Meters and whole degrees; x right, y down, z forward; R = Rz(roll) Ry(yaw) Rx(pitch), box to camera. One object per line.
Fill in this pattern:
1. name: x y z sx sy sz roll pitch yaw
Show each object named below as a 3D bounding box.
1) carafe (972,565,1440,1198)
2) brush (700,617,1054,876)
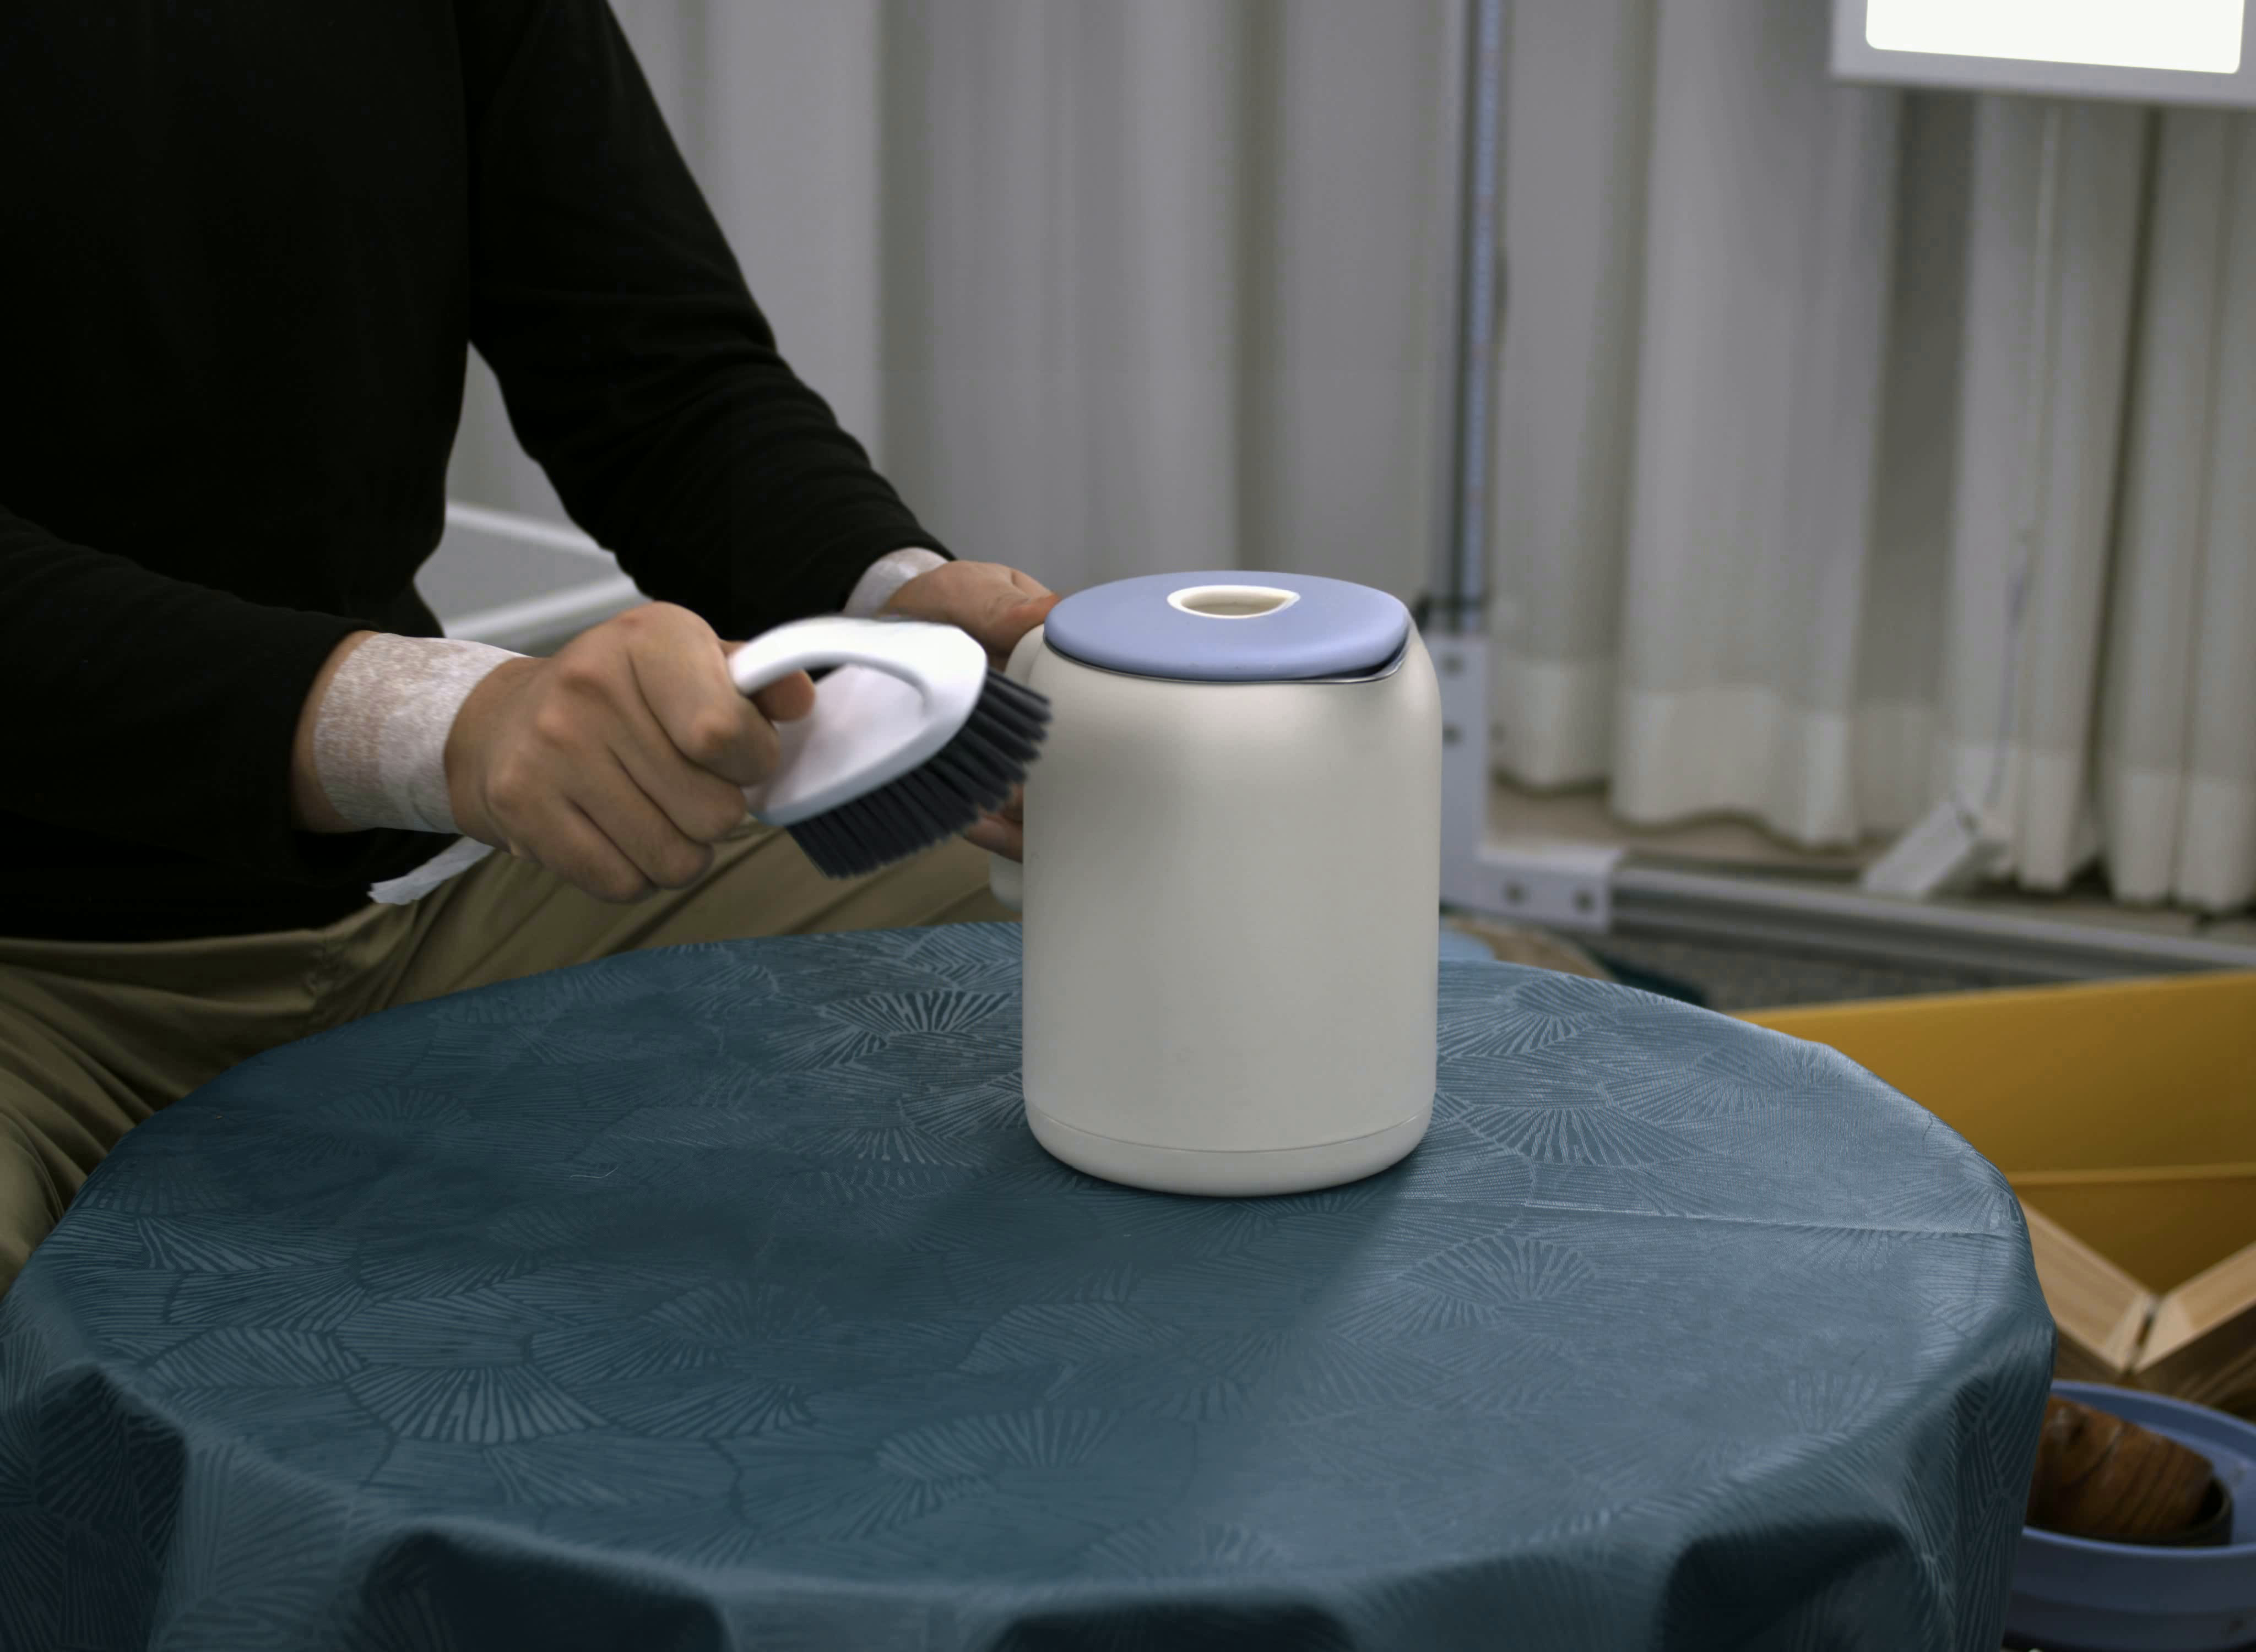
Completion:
1. carafe: 0.016 0.011 1.664 0.133 0.184 0.188 -13 19 -39
2. brush: -0.079 -0.029 1.497 0.073 0.050 0.098 36 -36 -30
